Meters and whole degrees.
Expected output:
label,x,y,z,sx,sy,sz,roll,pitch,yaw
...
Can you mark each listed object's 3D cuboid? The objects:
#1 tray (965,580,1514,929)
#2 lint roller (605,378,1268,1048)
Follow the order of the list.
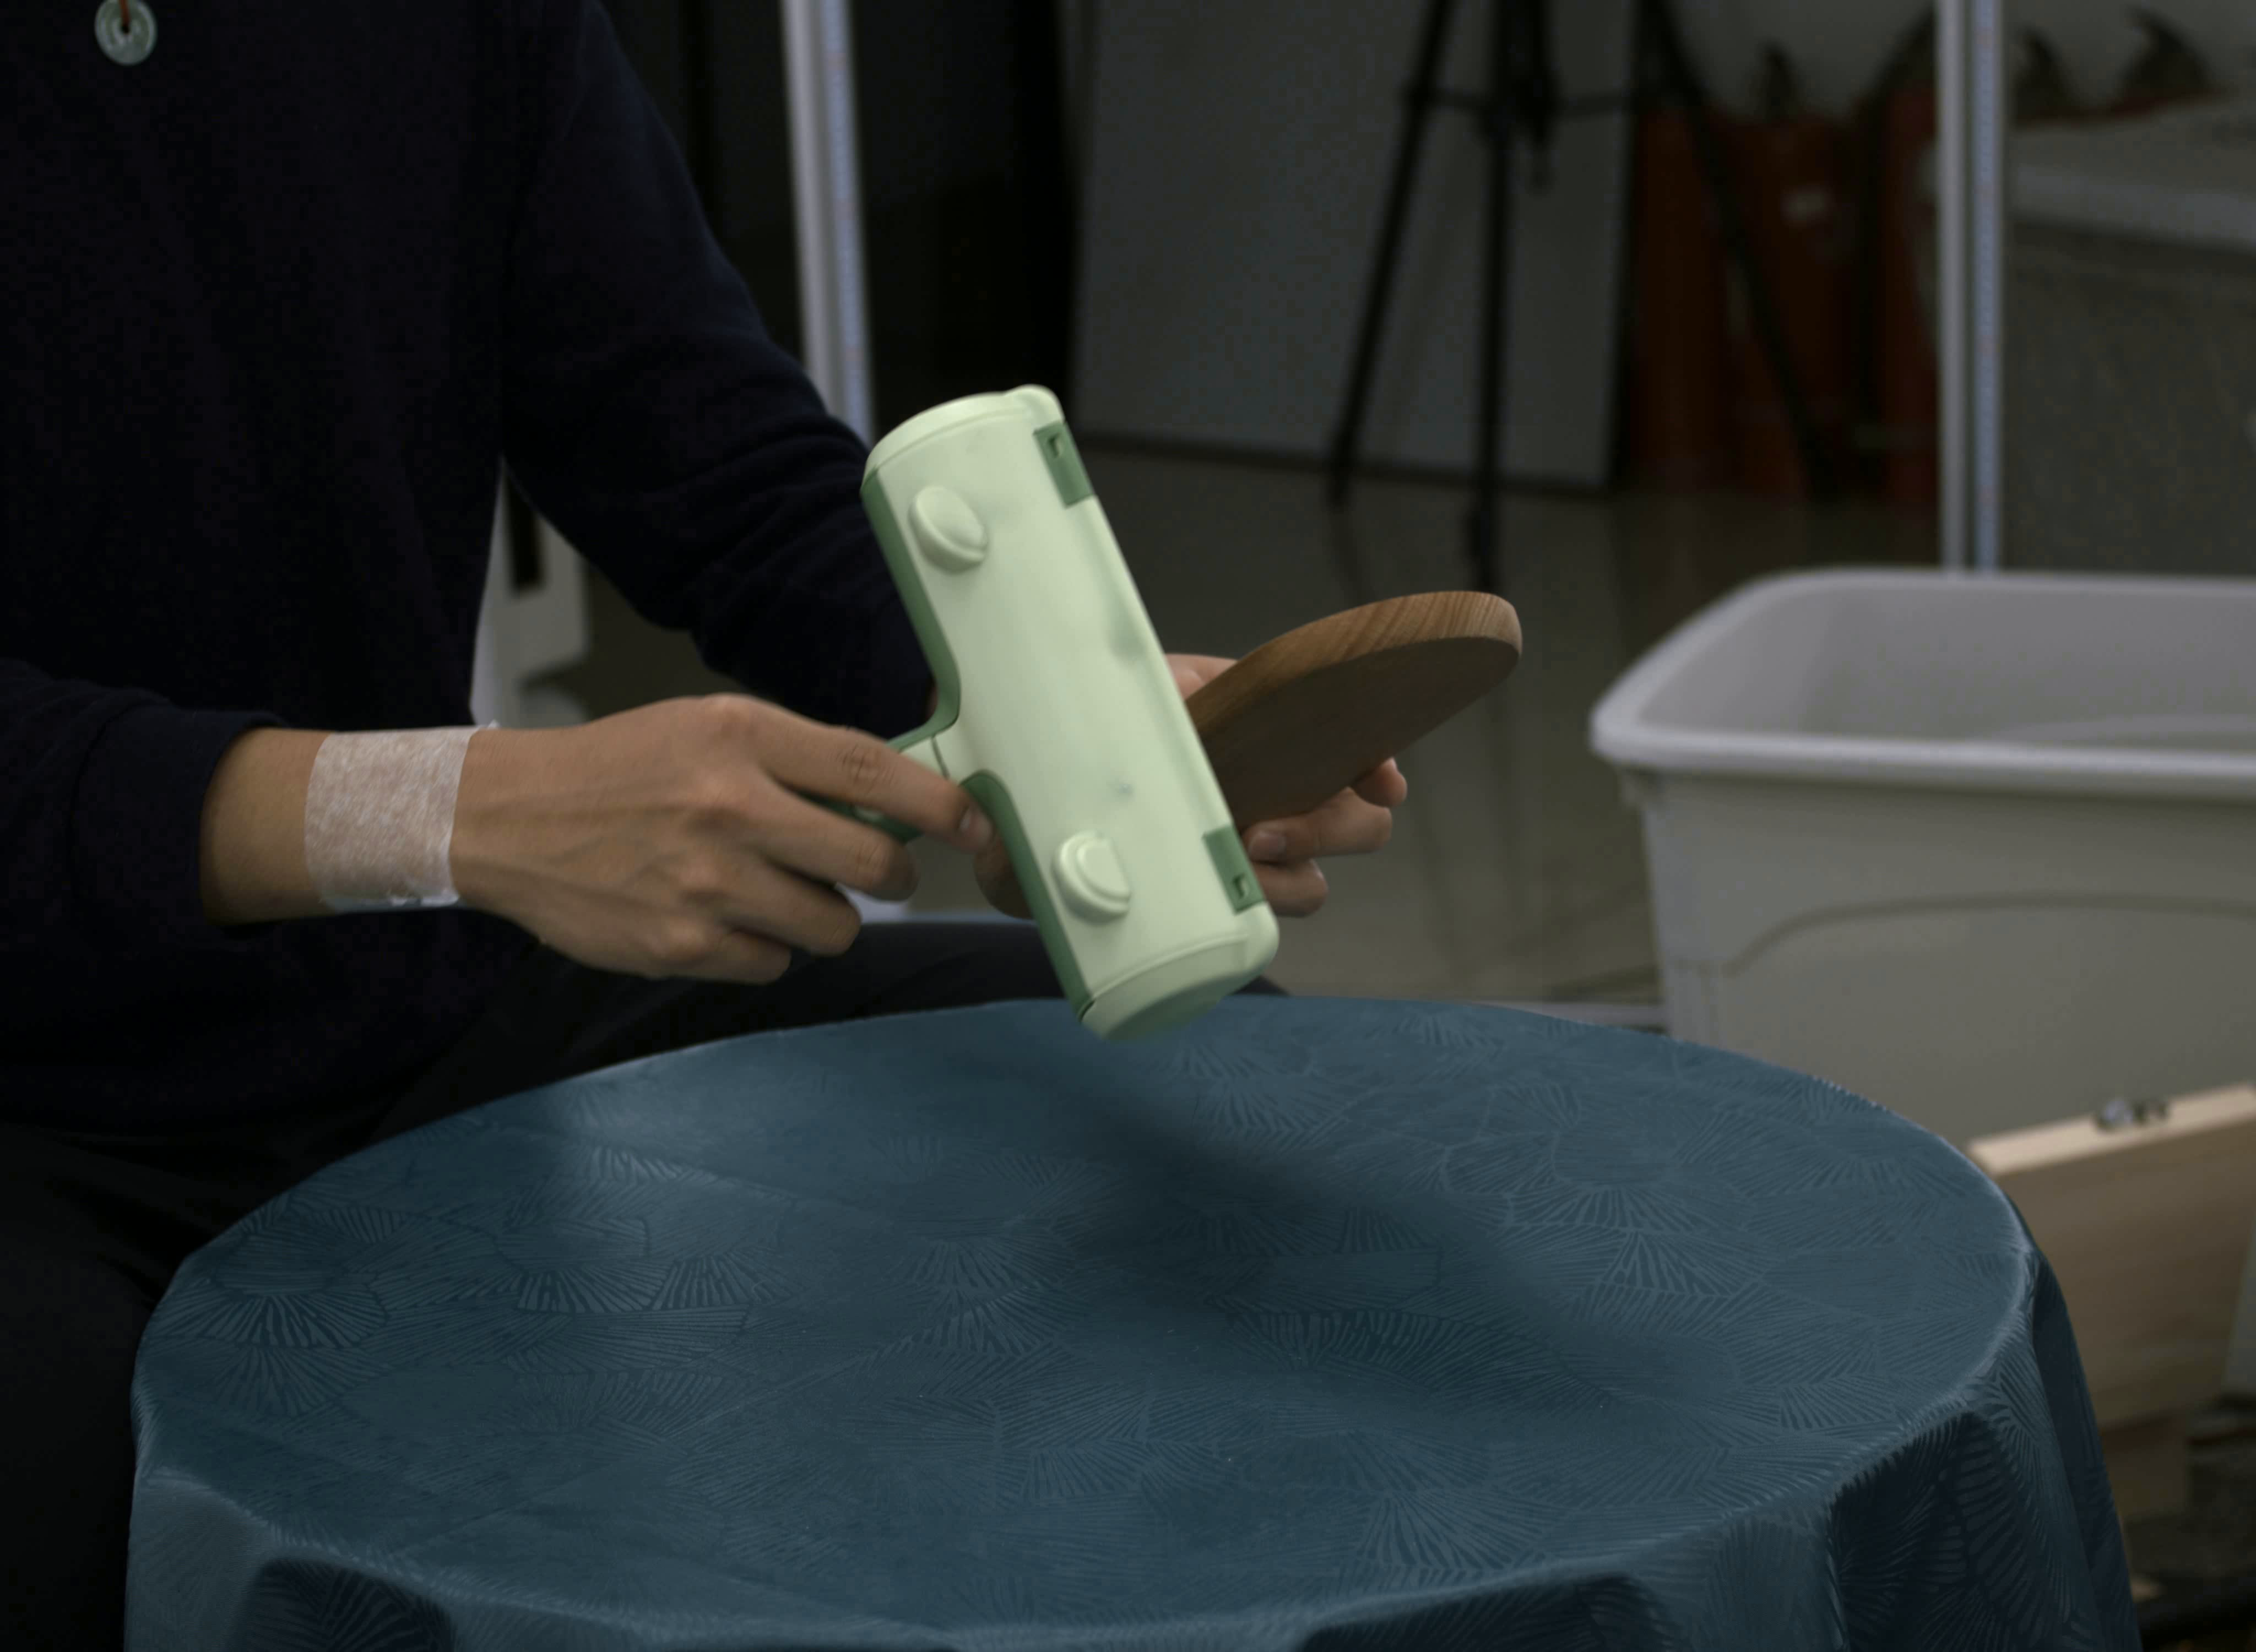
label,x,y,z,sx,sy,sz,roll,pitch,yaw
tray,0.034,-0.019,1.702,0.099,0.020,0.233,0,-26,-38
lint roller,-0.076,-0.013,1.587,0.182,0.201,0.082,-24,-16,1
